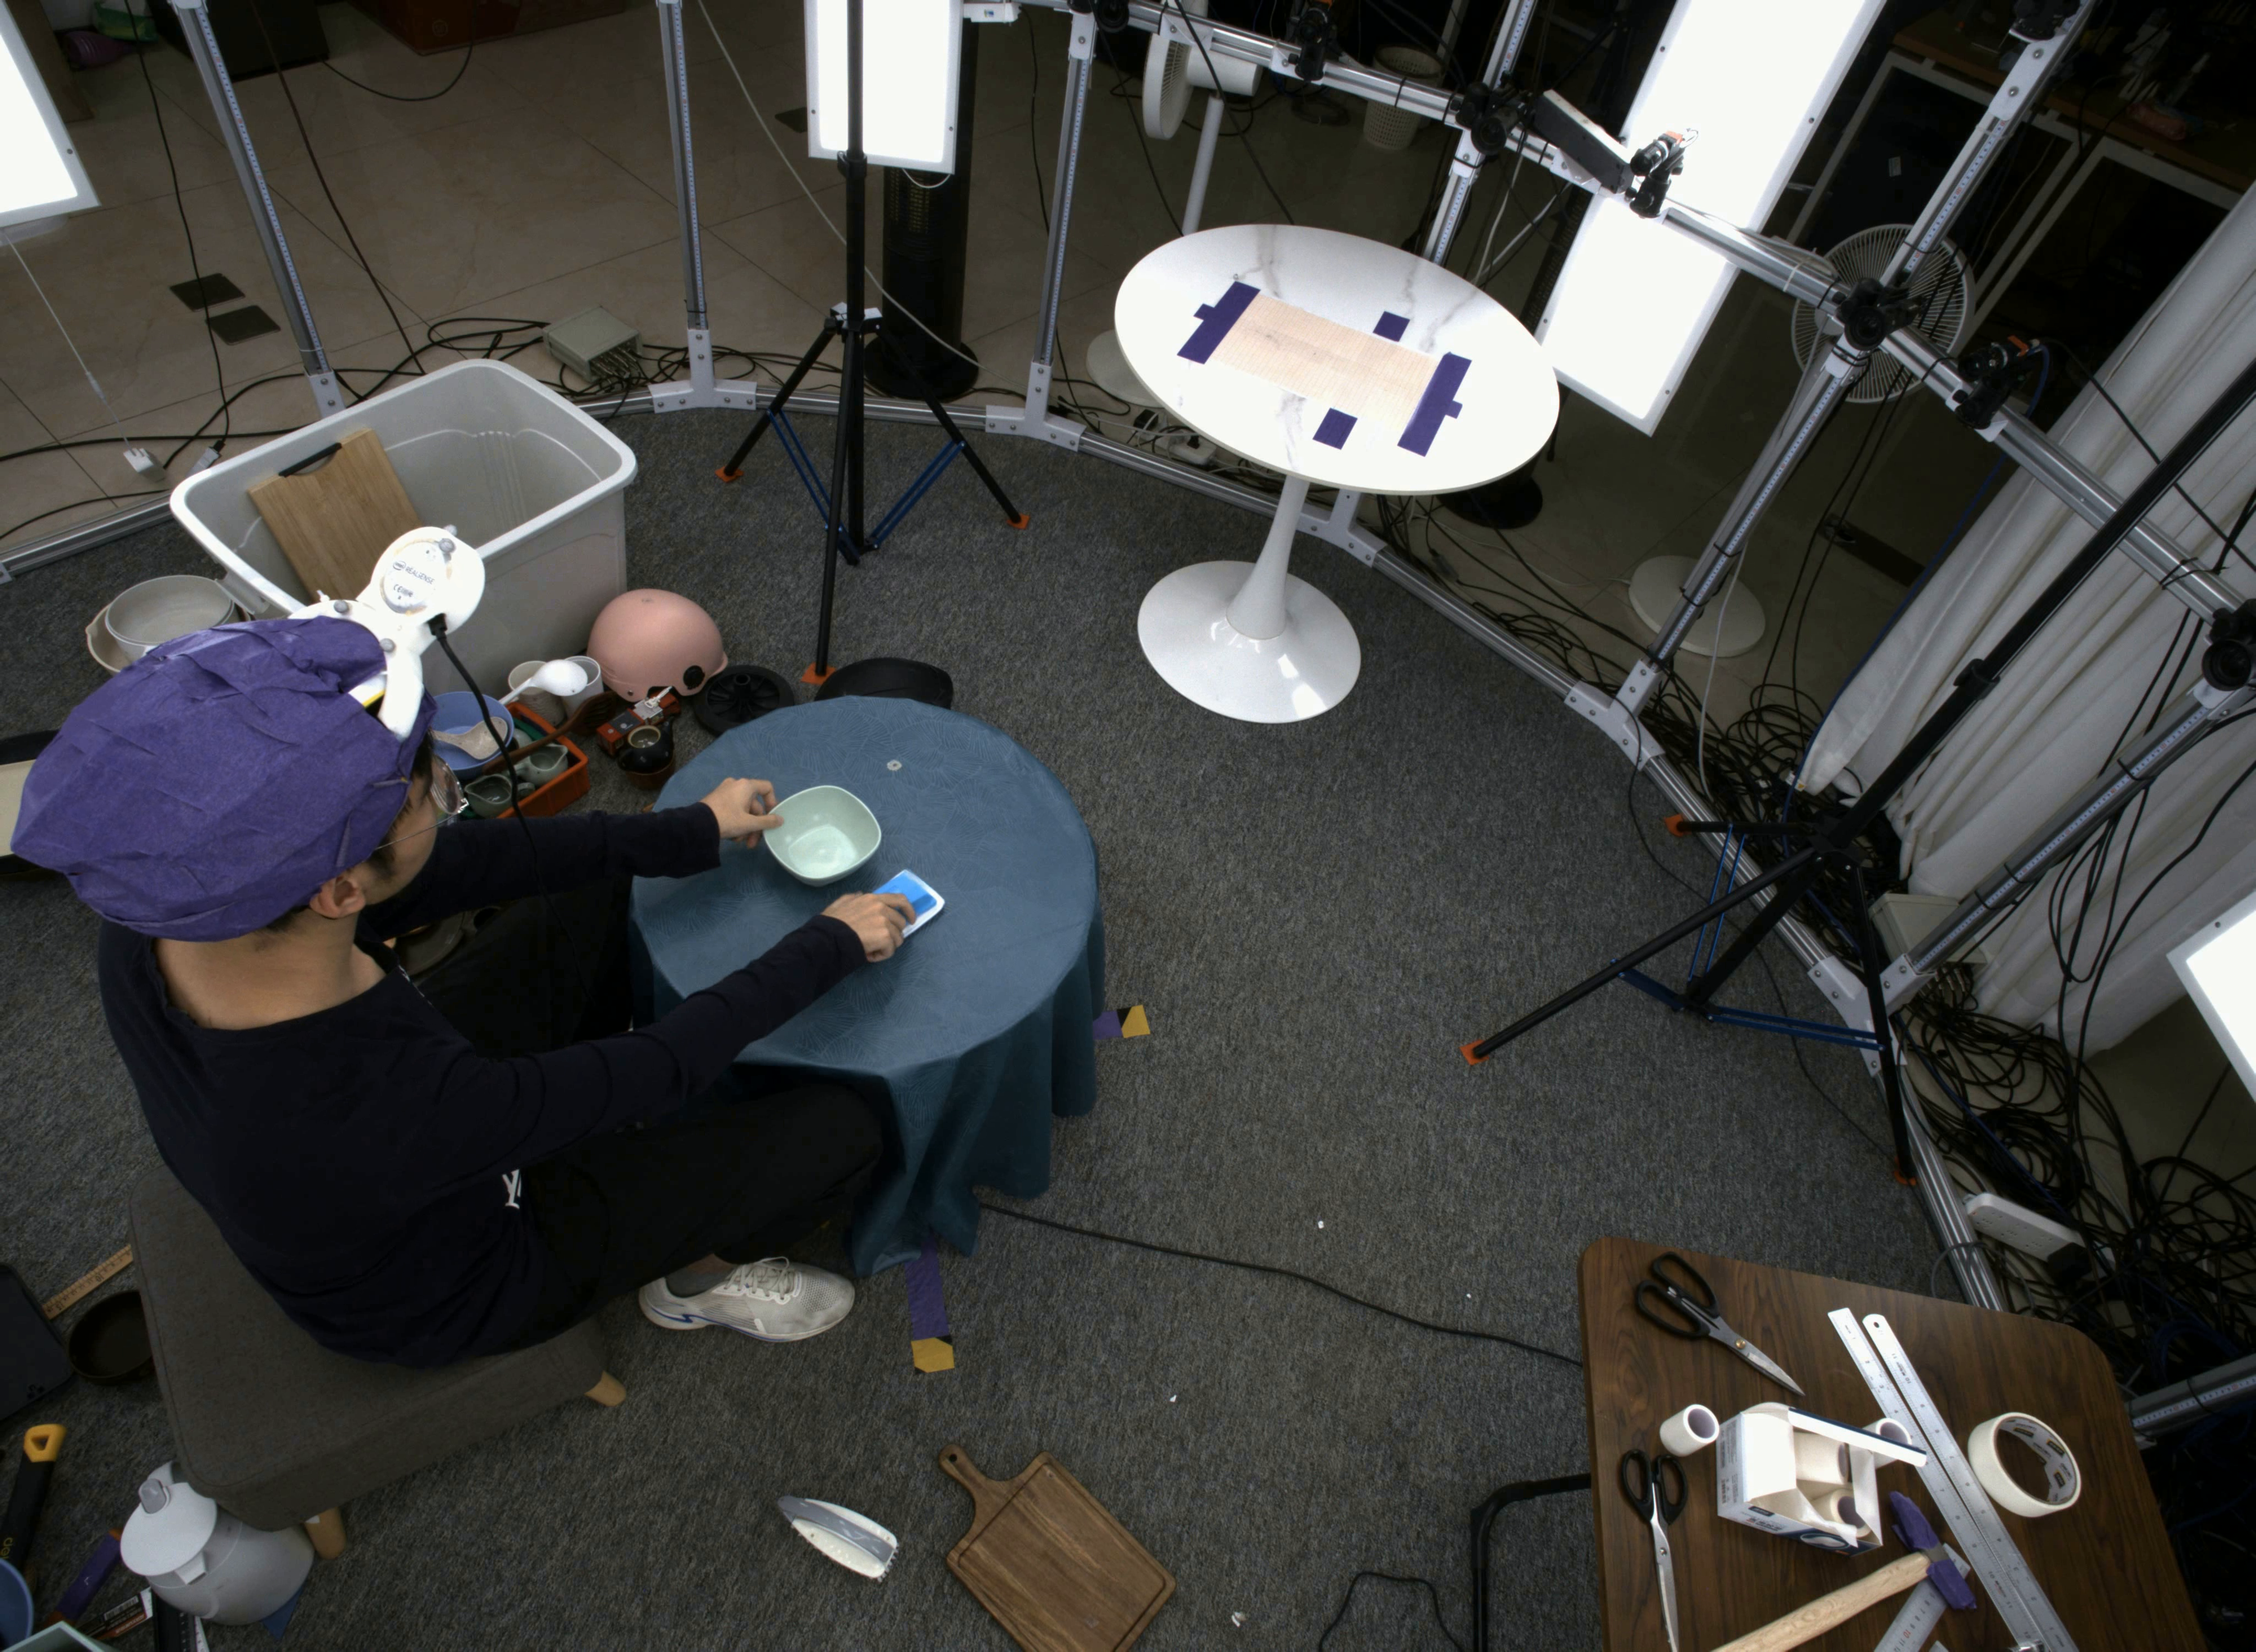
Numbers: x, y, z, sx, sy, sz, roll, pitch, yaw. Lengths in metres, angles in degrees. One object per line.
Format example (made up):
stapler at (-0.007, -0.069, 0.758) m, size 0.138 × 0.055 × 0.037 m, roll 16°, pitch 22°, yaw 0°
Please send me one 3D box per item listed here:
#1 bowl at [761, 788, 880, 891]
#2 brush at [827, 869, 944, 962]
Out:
bowl at (-0.396, 0.026, 1.680) m, size 0.151 × 0.060 × 0.149 m, roll 6°, pitch 52°, yaw -6°
brush at (-0.306, 0.104, 1.639) m, size 0.081 × 0.057 × 0.144 m, roll 39°, pitch 53°, yaw 22°
